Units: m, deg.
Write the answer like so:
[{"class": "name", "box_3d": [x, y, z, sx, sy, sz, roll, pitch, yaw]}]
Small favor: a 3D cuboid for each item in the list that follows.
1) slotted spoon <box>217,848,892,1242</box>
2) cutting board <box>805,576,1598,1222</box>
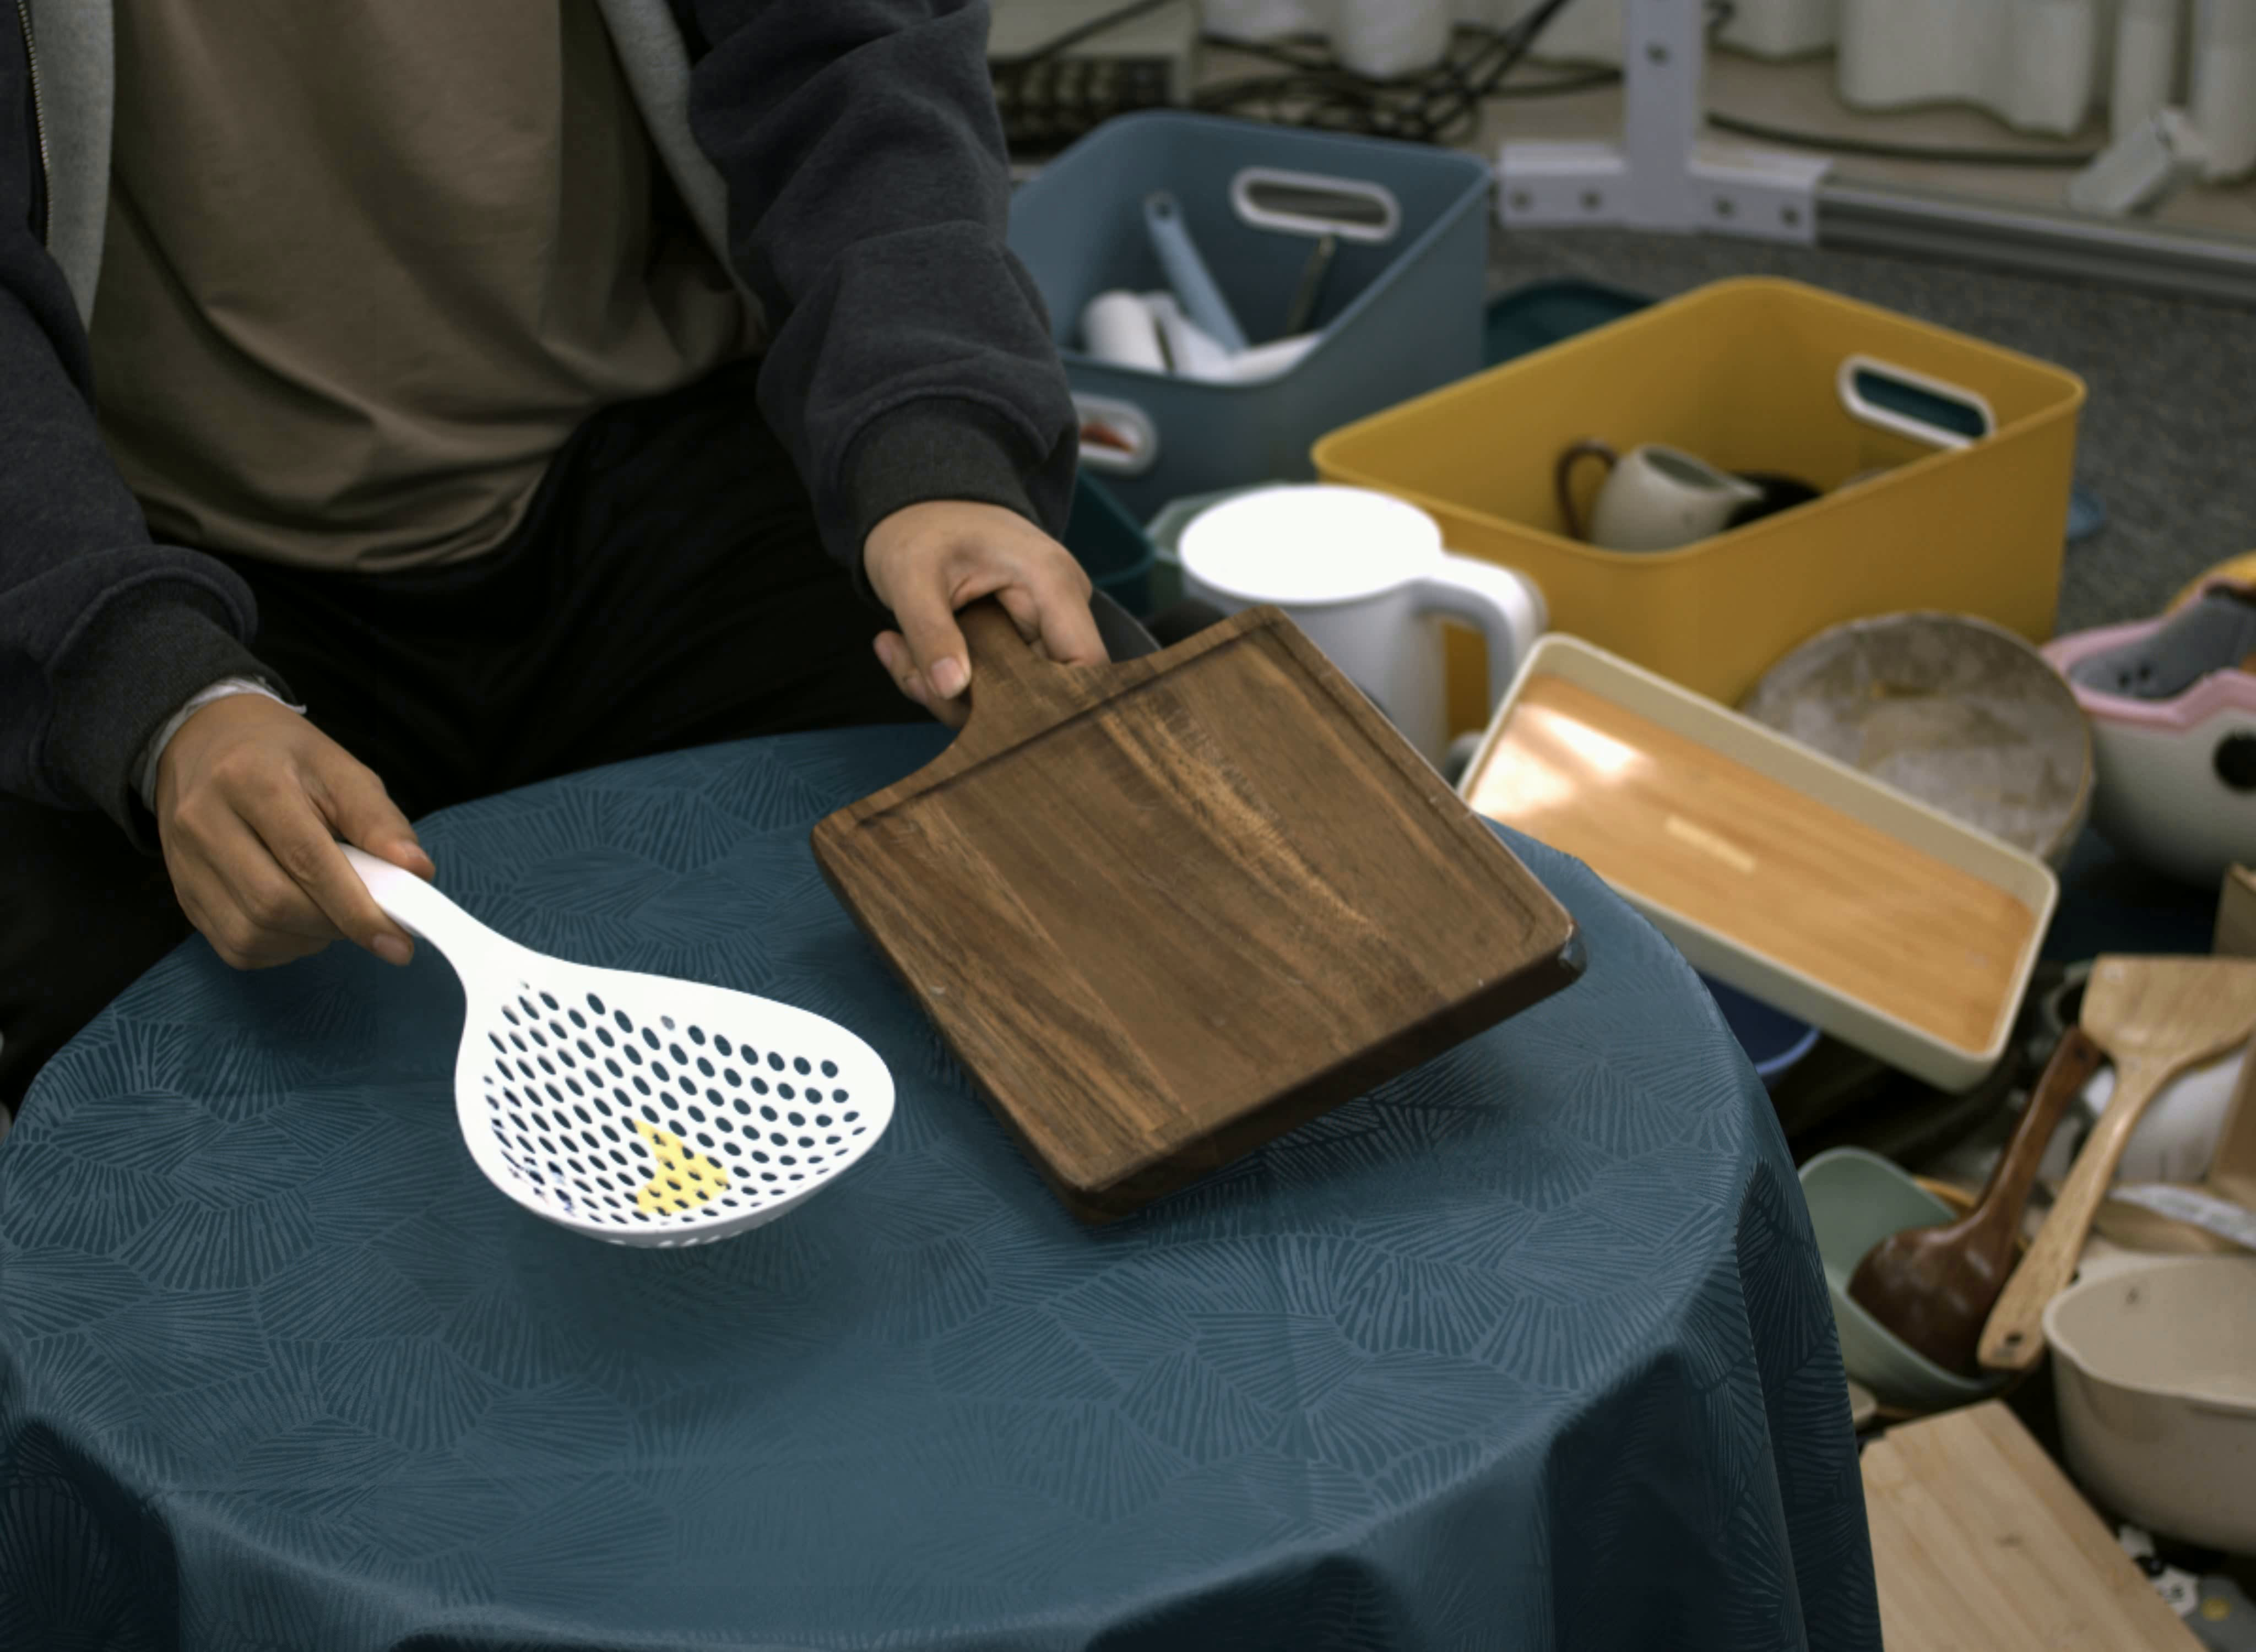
[{"class": "slotted spoon", "box_3d": [-0.211, 0.060, 1.893, 0.138, 0.049, 0.349, -25, 39, -29]}, {"class": "cutting board", "box_3d": [0.000, -0.001, 1.981, 0.202, 0.023, 0.355, -26, 37, -12]}]
